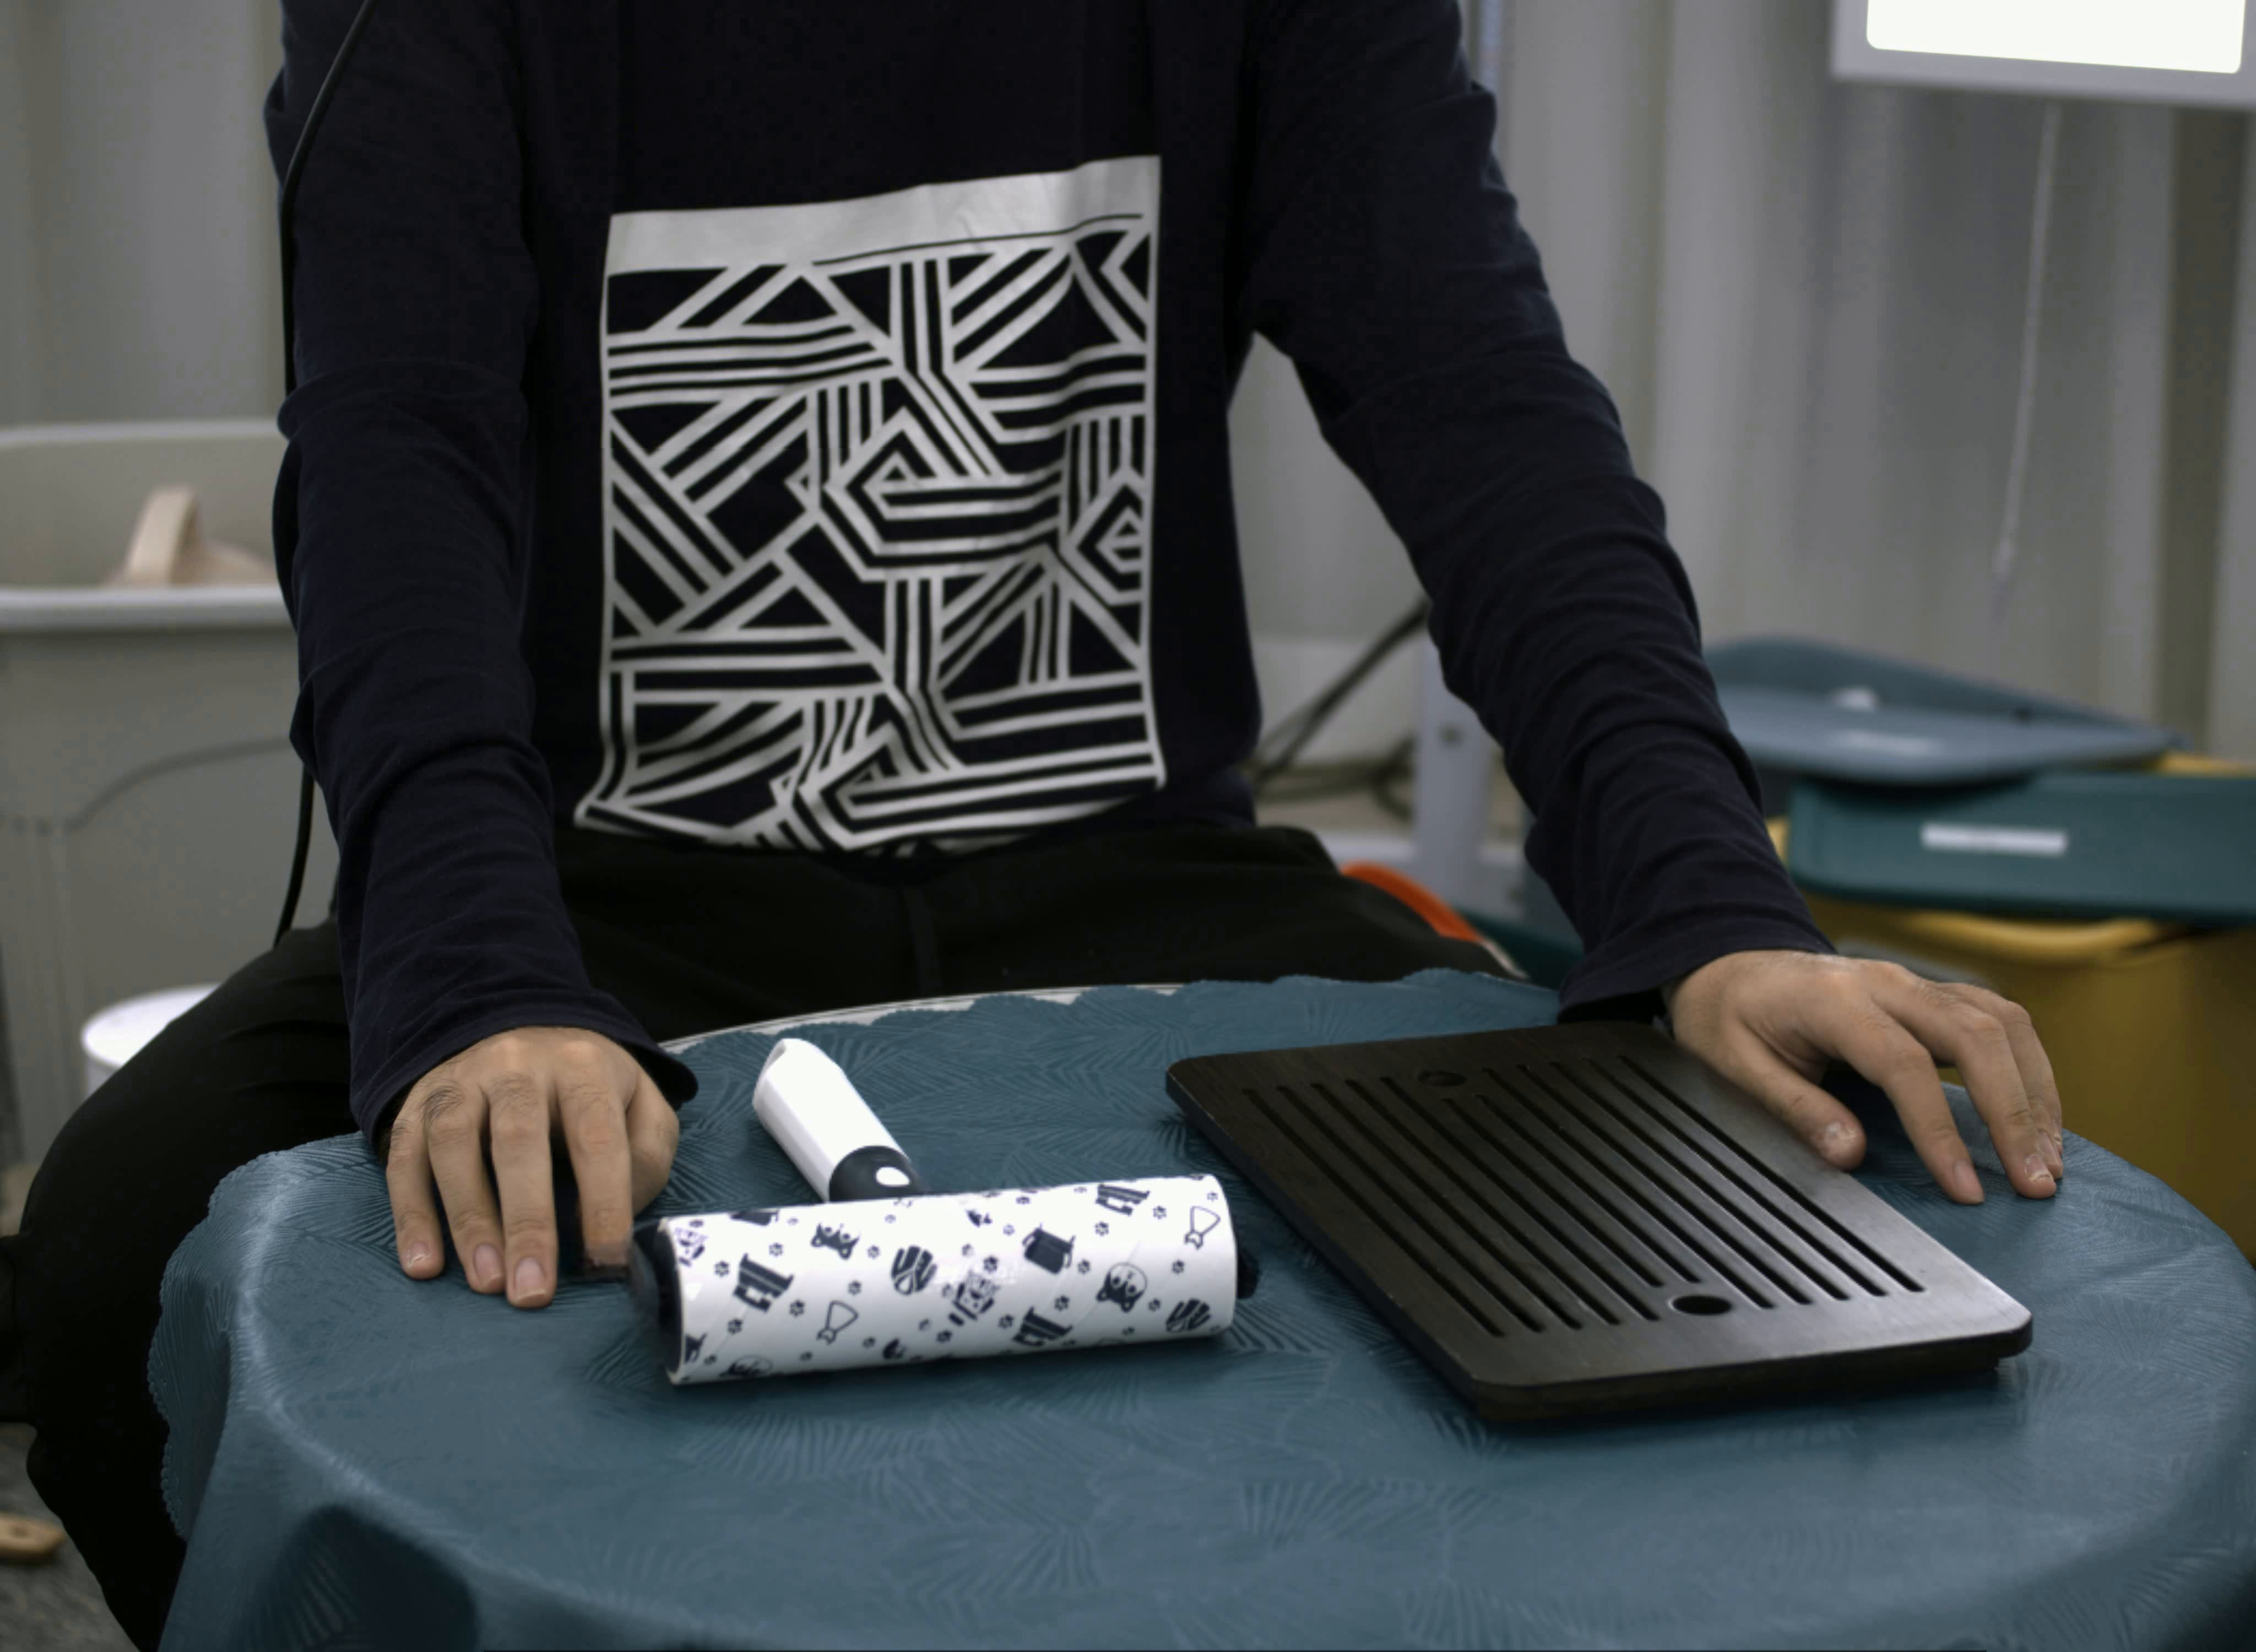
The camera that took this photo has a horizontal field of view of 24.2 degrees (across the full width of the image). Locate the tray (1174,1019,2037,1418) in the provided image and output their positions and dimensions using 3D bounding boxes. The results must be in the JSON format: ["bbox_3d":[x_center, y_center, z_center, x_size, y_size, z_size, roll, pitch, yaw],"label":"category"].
[{"bbox_3d":[0.135,0.114,1.588,0.170,0.019,0.303,-4,15,-16],"label":"tray"}]

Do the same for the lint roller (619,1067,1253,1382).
[{"bbox_3d":[-0.080,0.104,1.574,0.176,0.051,0.244,-5,14,-15],"label":"lint roller"}]
